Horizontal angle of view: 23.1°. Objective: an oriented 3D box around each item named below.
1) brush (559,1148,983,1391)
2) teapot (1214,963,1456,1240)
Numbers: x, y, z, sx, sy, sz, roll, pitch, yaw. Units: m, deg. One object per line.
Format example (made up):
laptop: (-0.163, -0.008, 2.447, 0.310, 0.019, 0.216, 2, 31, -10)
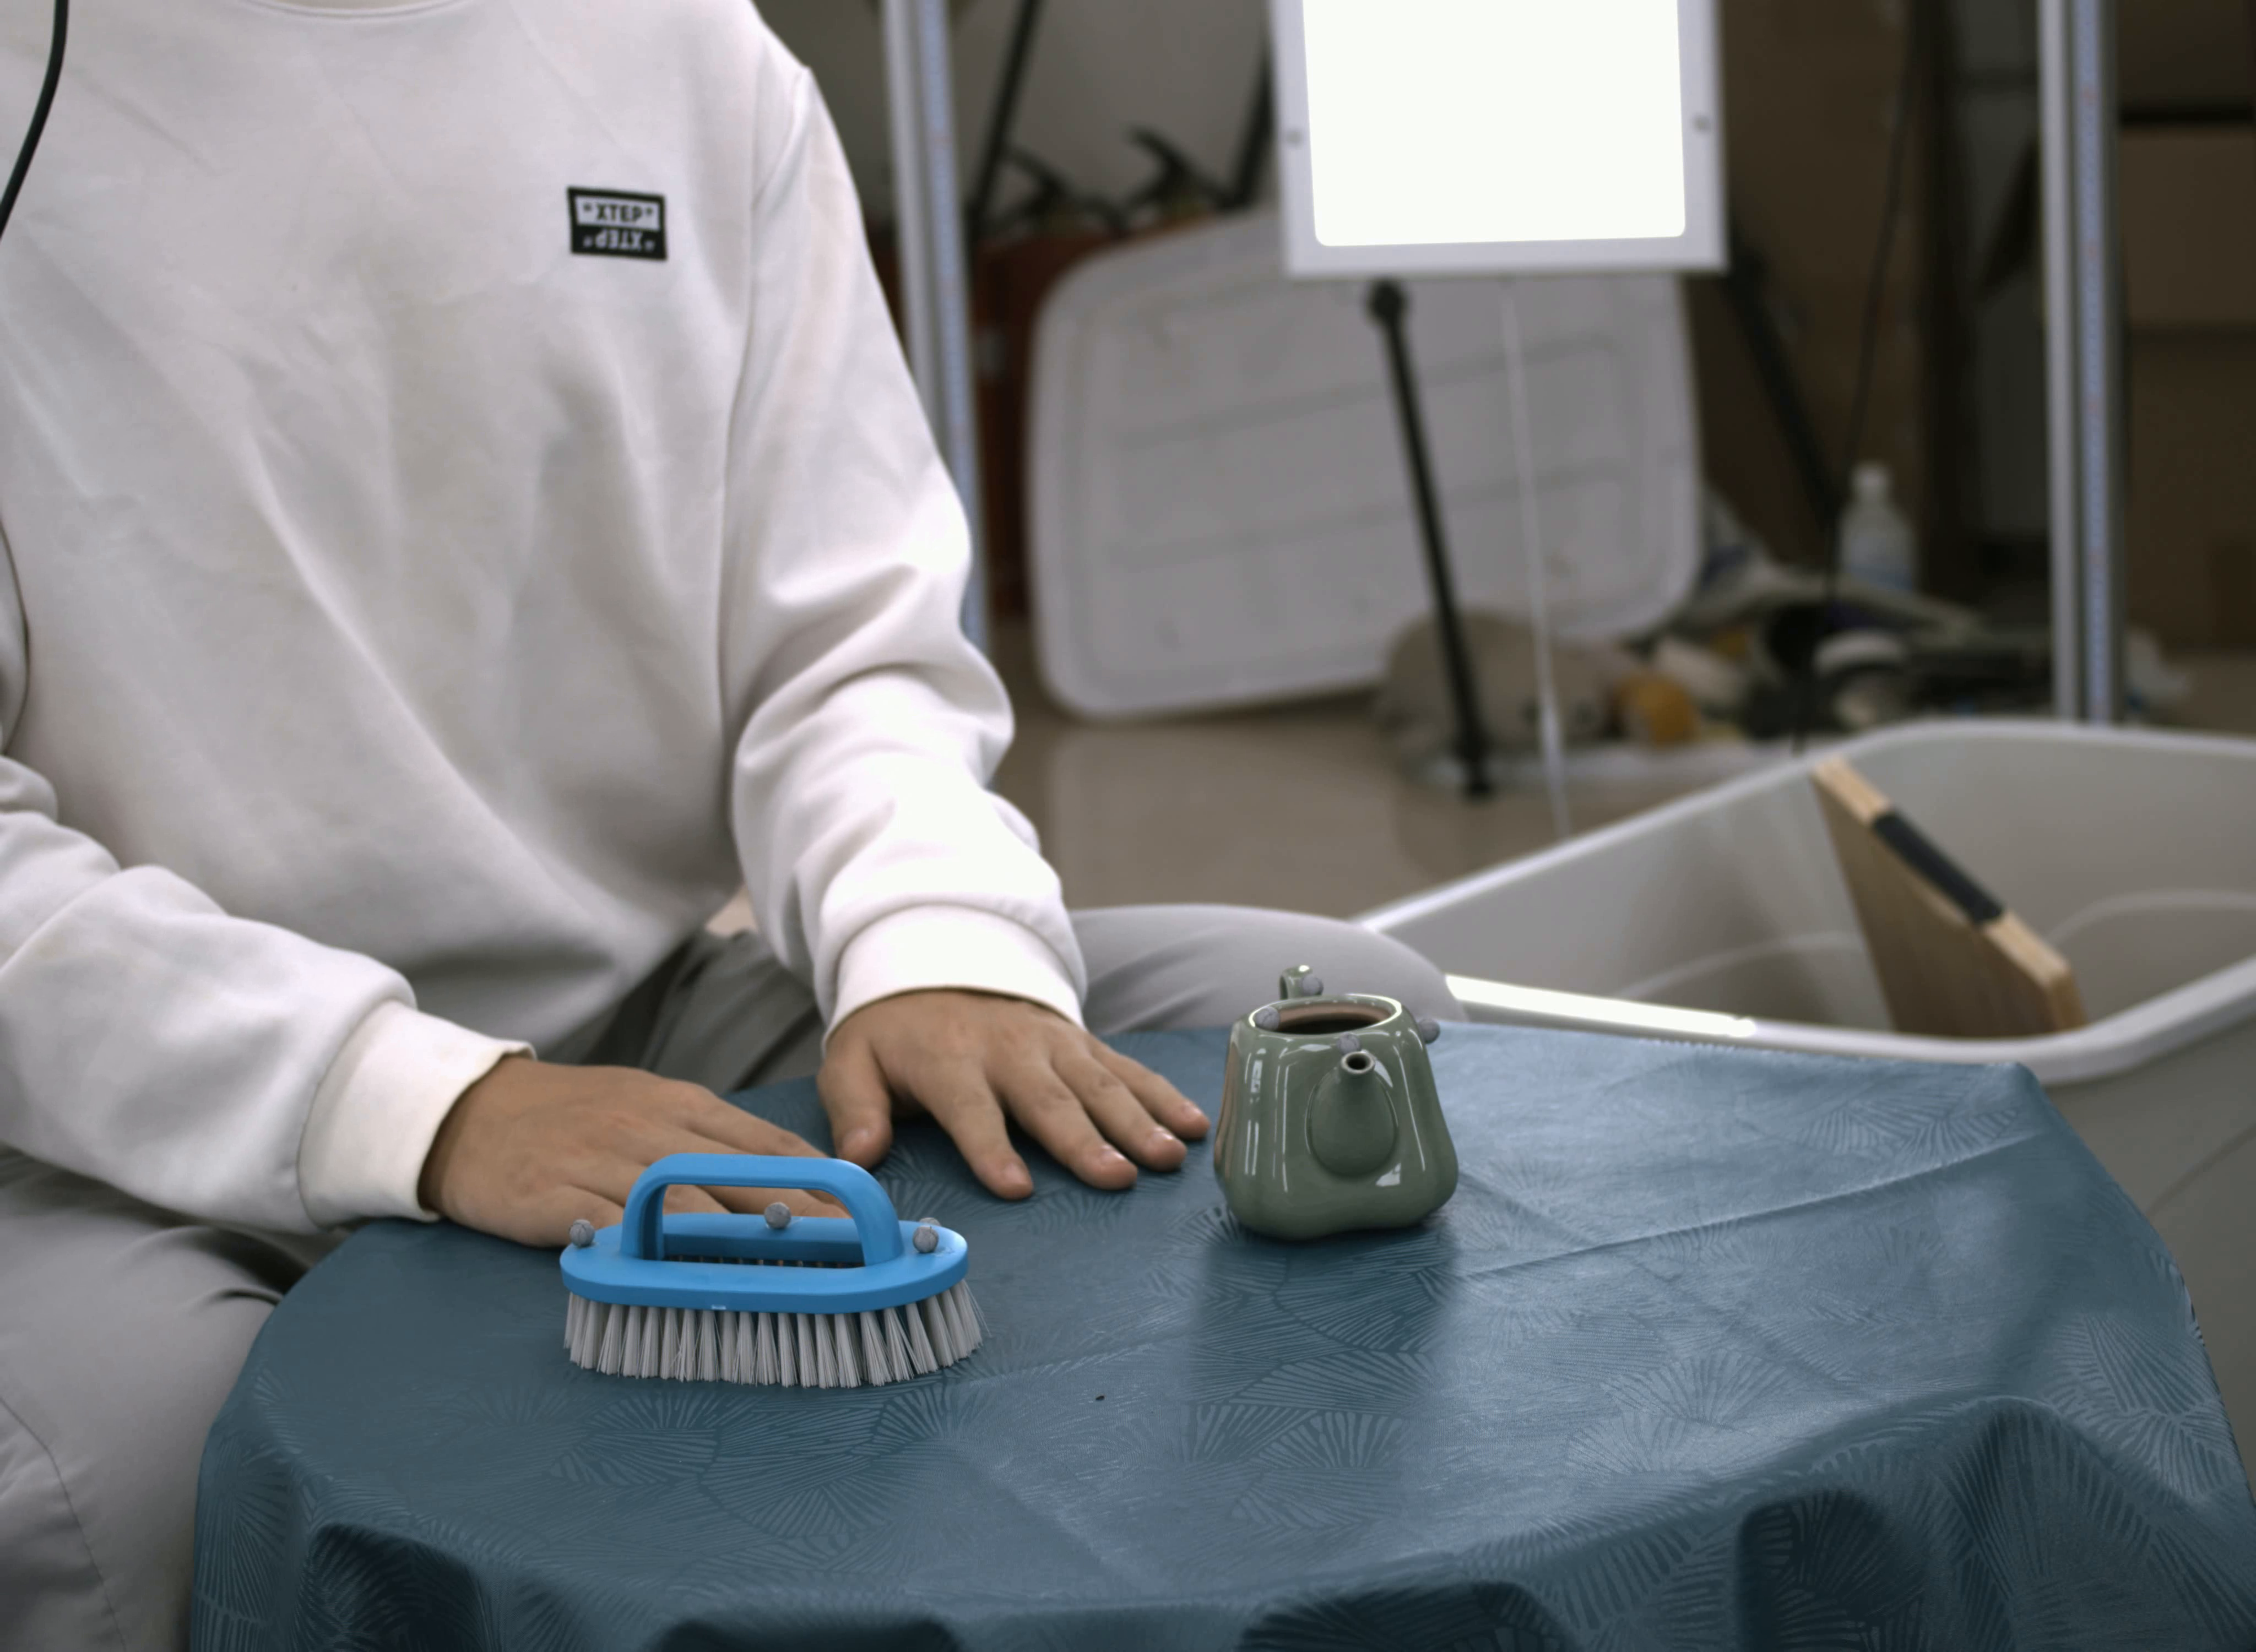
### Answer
brush: (-0.118, 0.135, 1.767, 0.144, 0.064, 0.083, 0, 19, 24)
teapot: (0.069, 0.095, 1.849, 0.079, 0.075, 0.133, -6, 13, -6)
